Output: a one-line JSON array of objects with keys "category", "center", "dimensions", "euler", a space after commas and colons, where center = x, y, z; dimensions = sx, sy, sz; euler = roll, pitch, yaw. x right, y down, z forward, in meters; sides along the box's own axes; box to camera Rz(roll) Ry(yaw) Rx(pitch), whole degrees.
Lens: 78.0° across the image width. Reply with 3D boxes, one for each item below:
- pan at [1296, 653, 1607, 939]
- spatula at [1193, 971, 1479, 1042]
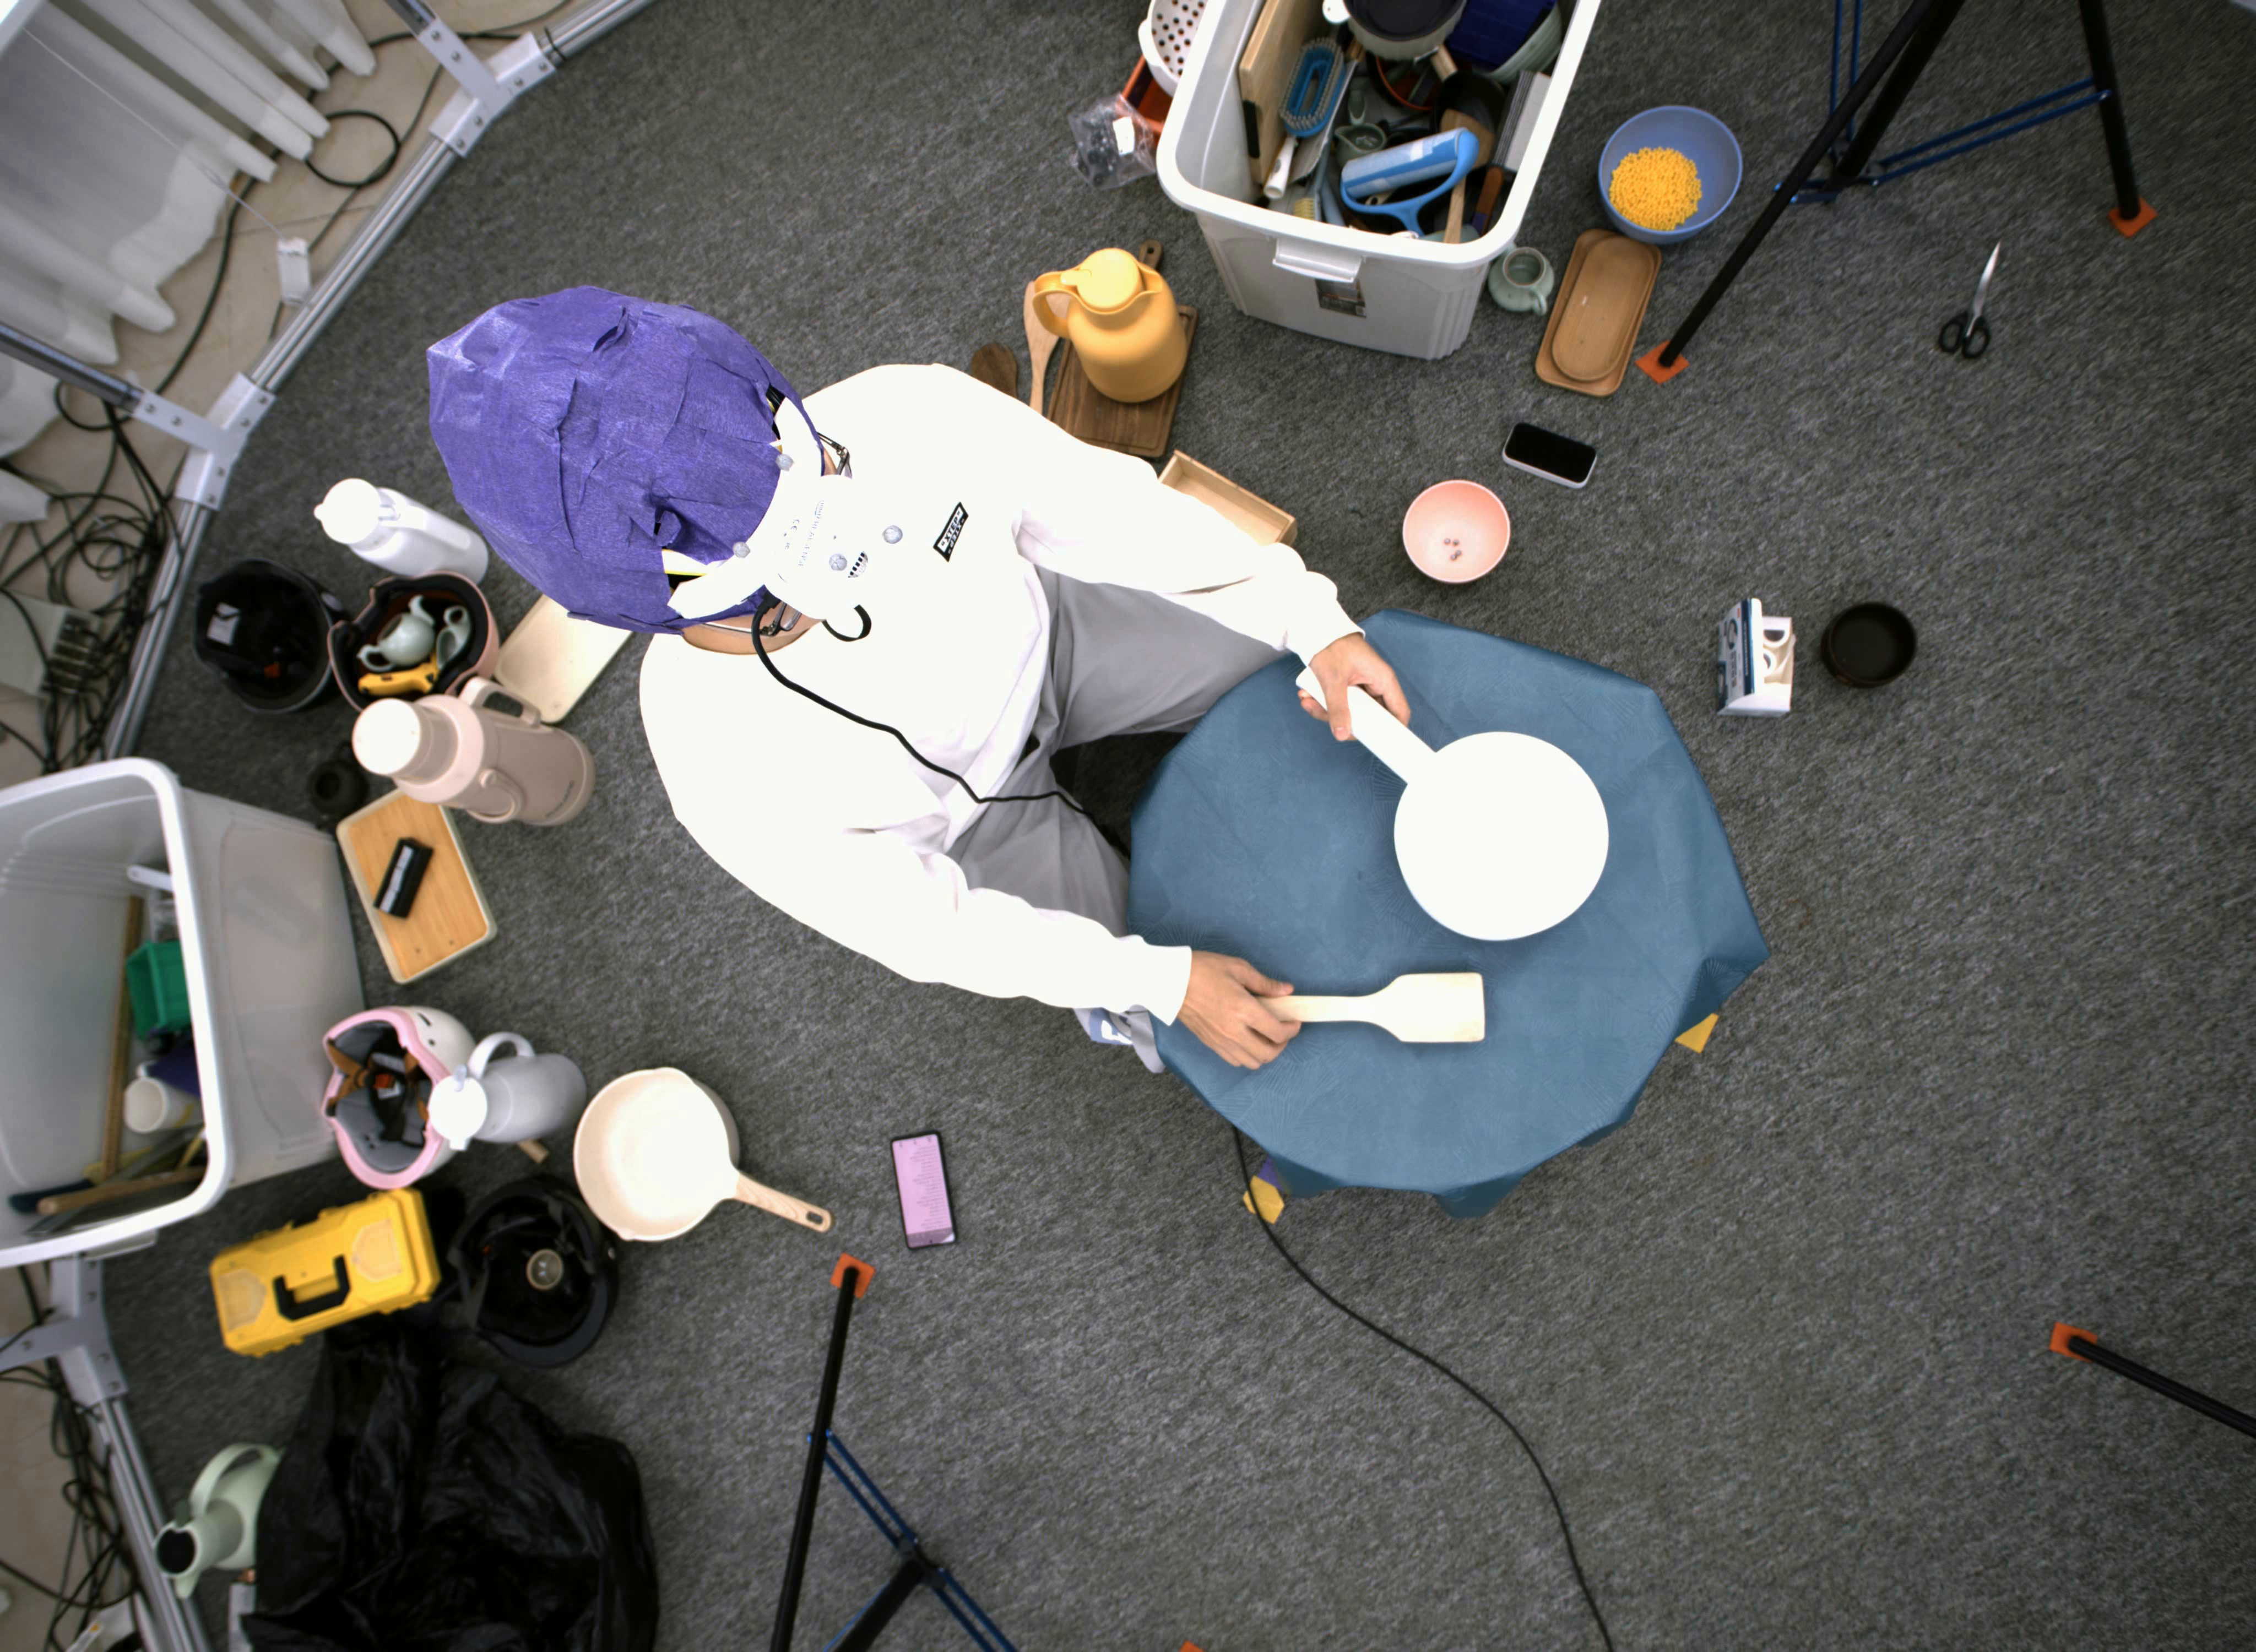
[{"category": "pan", "center": [0.313, -0.038, 1.389], "dimensions": [0.353, 0.102, 0.202], "euler": [43, 93, 14]}, {"category": "spatula", "center": [0.213, 0.186, 1.431], "dimensions": [0.294, 0.011, 0.071], "euler": [-2, 81, 9]}]
